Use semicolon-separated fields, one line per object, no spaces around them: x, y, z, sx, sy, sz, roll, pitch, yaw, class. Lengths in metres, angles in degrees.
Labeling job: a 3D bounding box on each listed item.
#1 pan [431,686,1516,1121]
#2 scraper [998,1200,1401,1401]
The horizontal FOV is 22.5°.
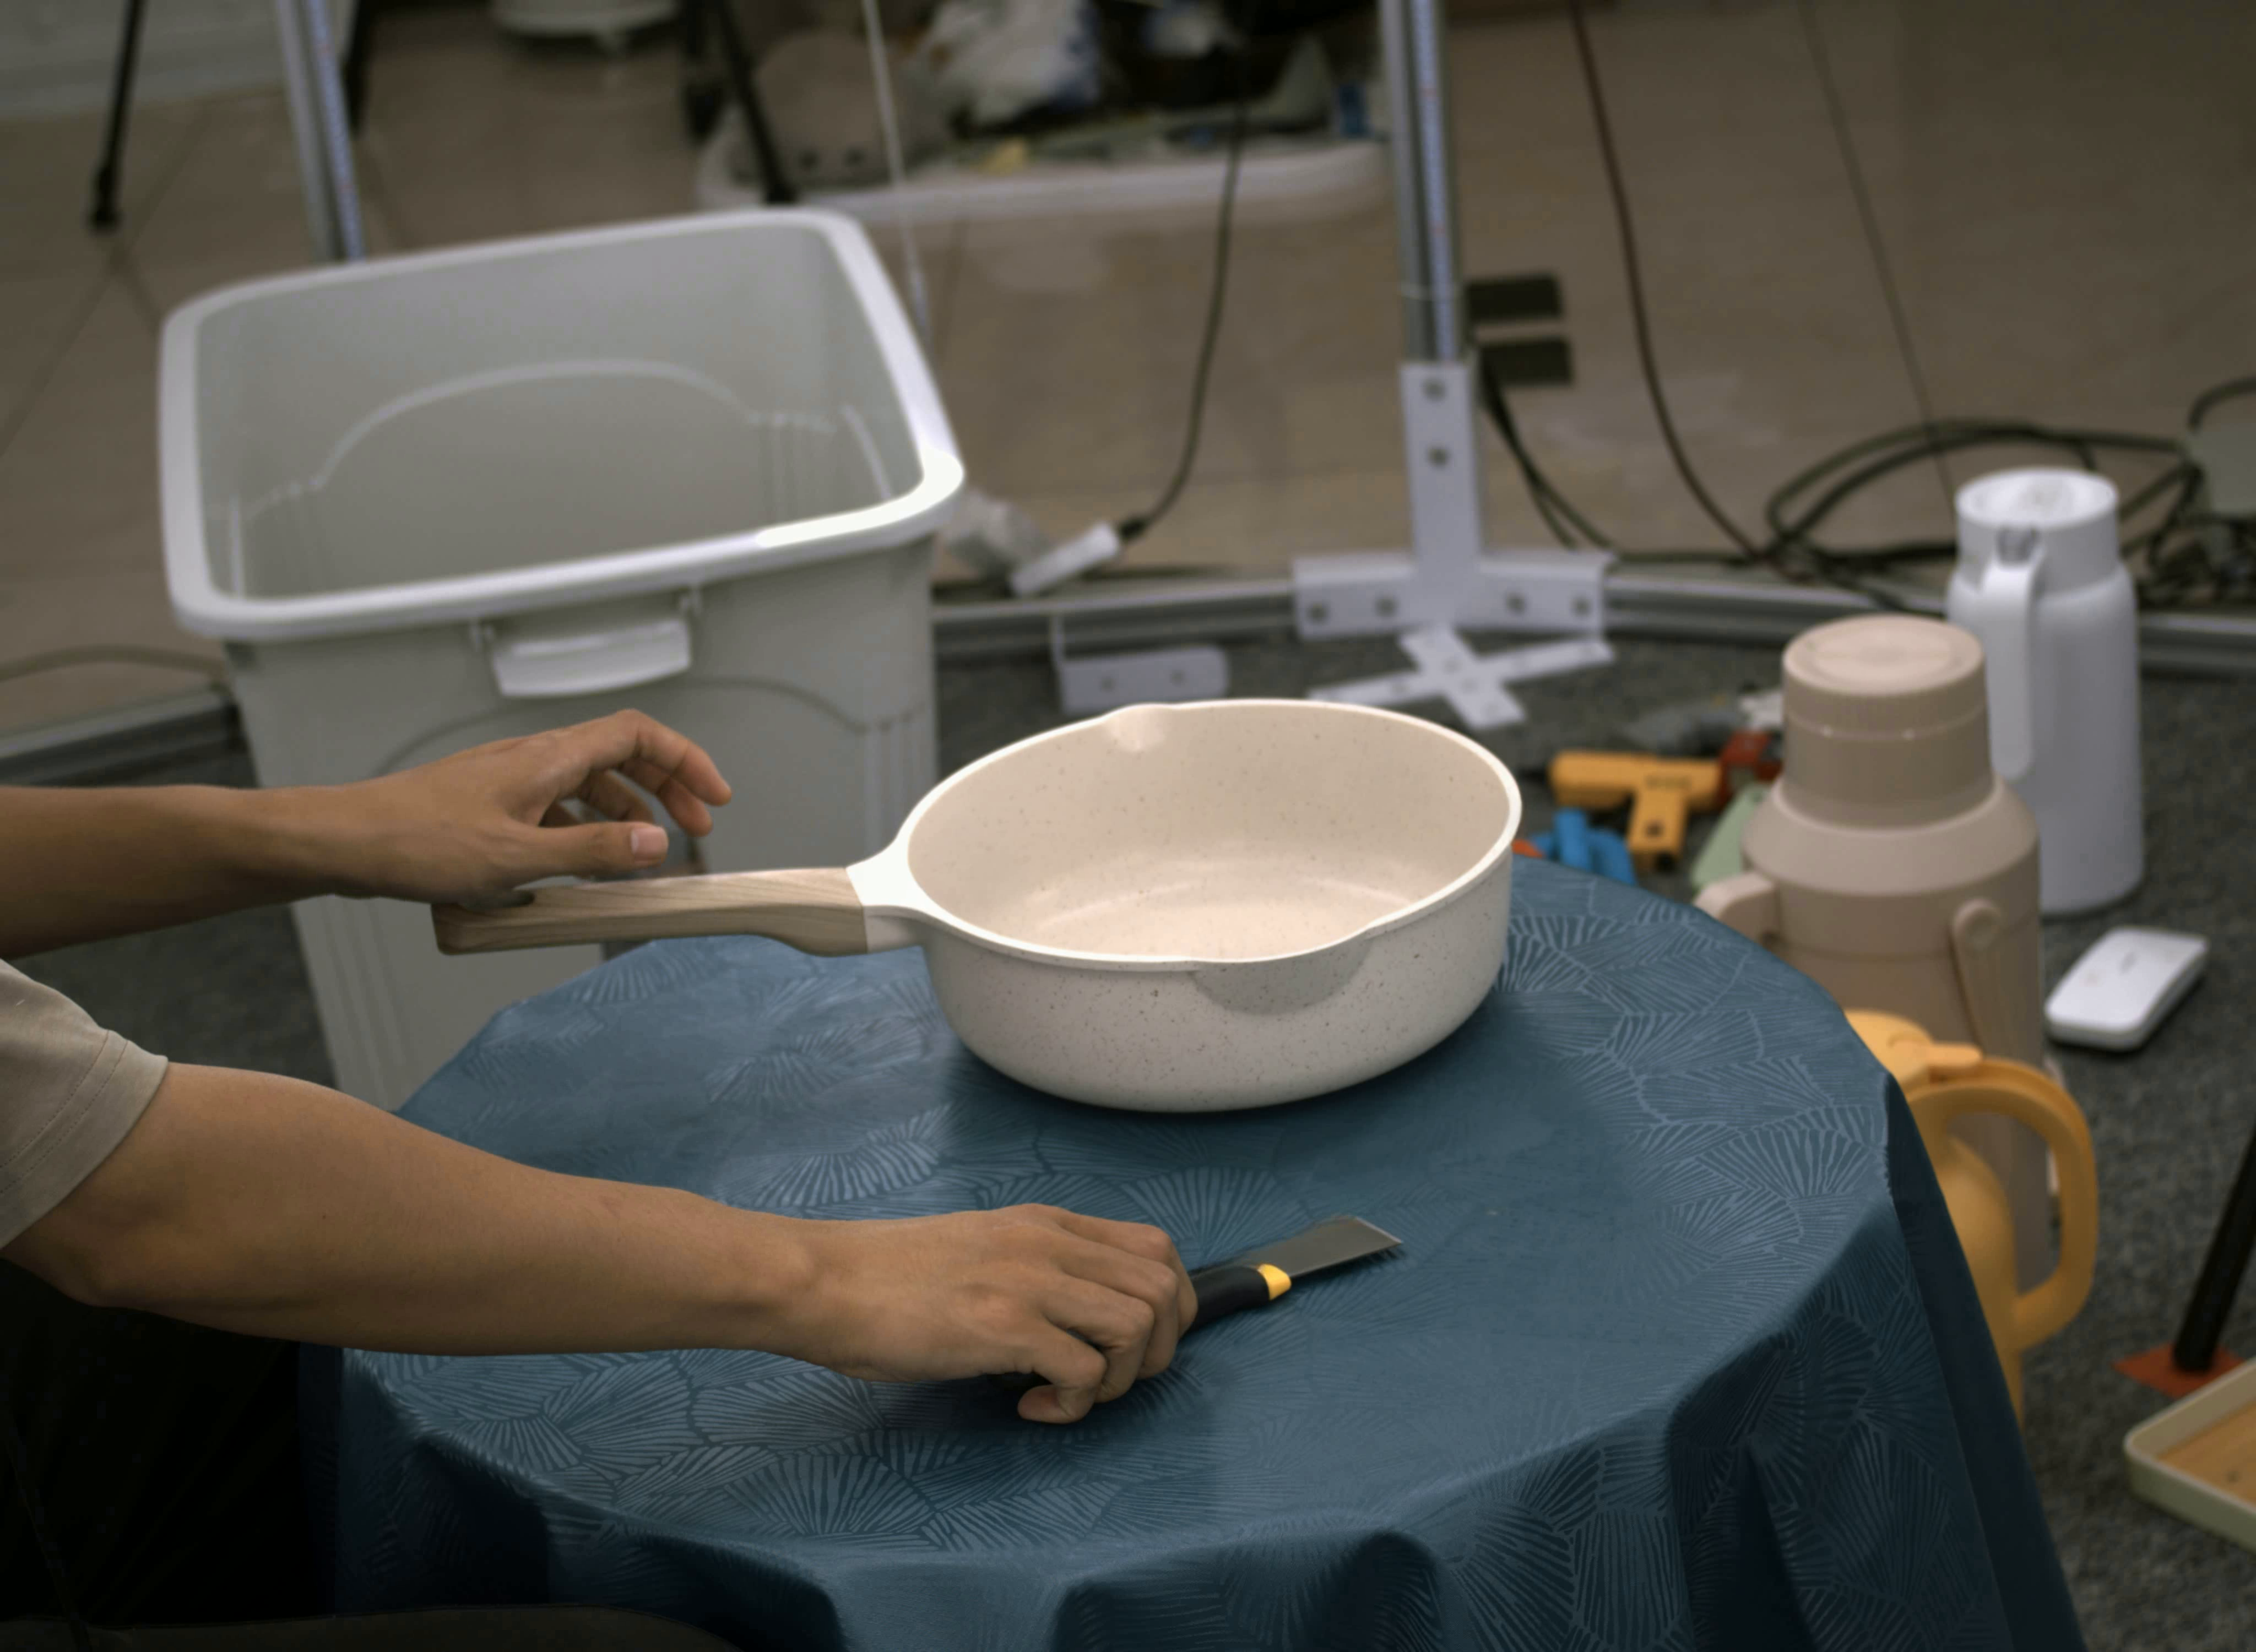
-0.057;0.045;2.258;0.434;0.104;0.259;-11;28;-10;pan
0.025;0.172;2.056;0.170;0.015;0.038;-20;32;-32;scraper
